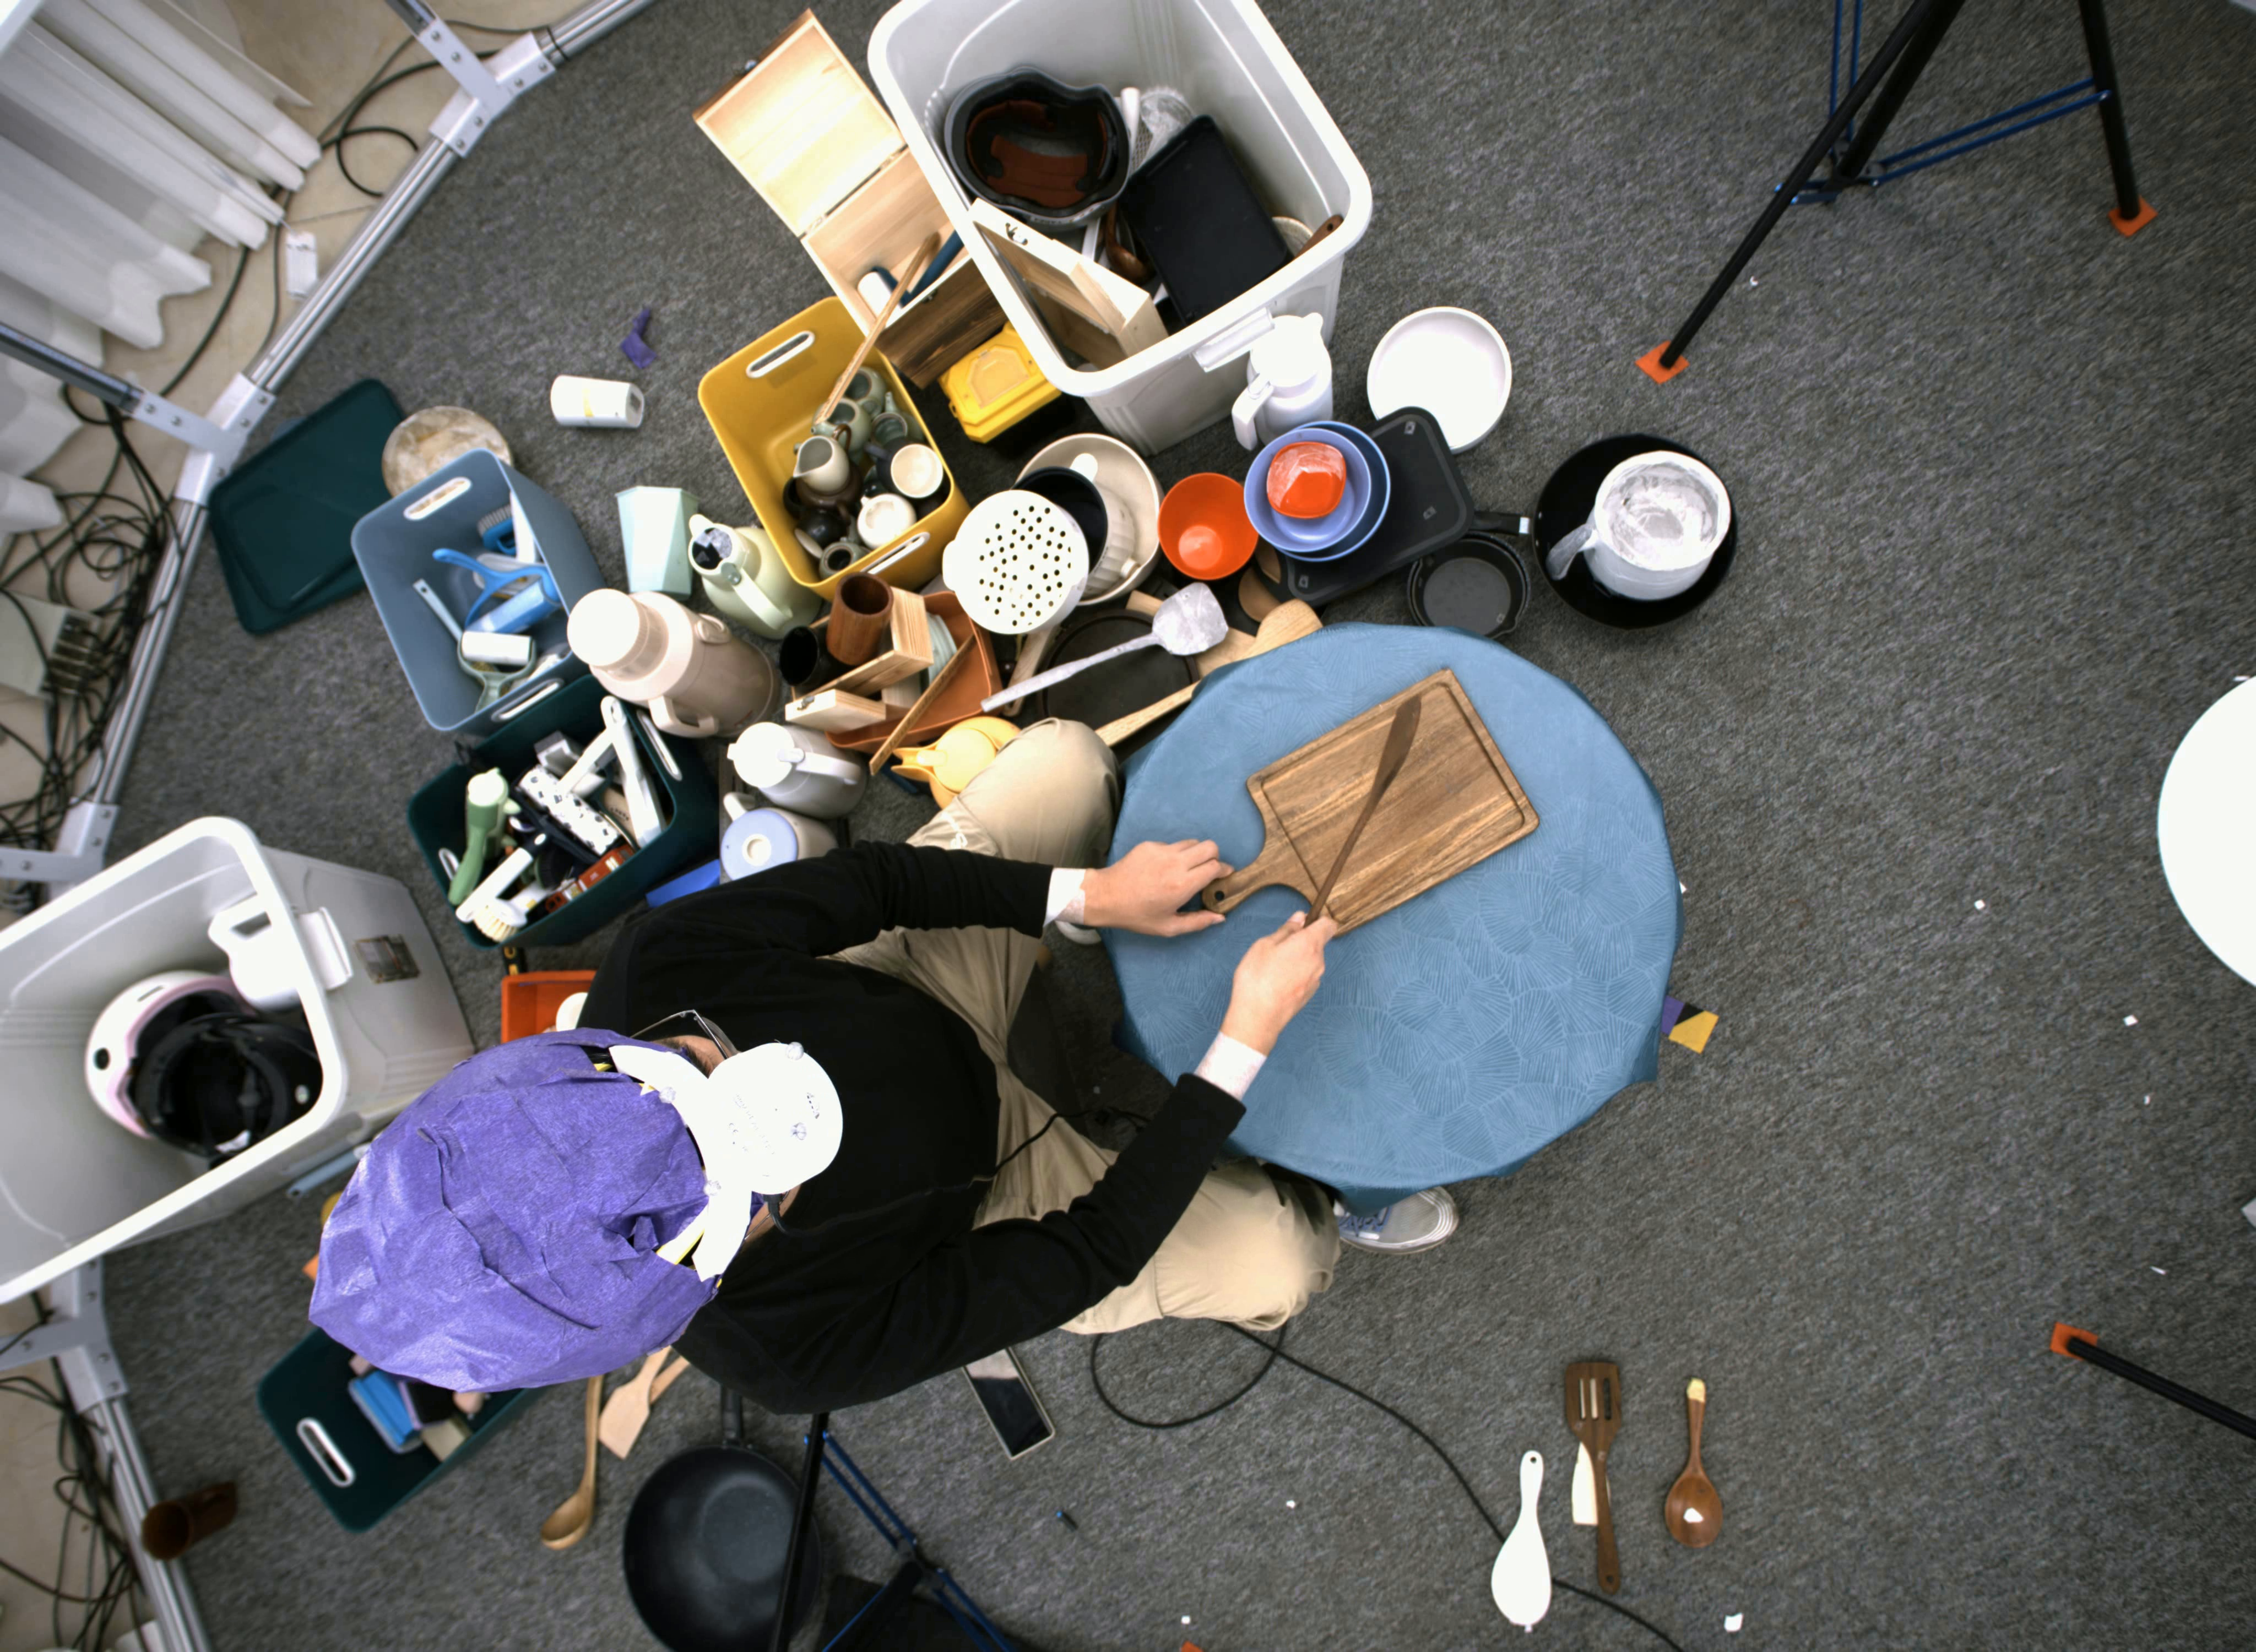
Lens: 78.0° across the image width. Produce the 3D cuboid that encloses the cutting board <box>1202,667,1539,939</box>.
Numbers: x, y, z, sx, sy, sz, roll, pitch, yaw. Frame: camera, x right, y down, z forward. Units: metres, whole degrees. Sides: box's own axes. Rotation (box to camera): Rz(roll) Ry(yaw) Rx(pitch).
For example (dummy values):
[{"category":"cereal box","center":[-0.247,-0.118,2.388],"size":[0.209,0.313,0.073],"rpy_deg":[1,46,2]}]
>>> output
[{"category":"cutting board","center":[0.233,-0.002,1.460],"size":[0.354,0.023,0.200],"rpy_deg":[-30,82,8]}]

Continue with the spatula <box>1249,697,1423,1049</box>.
[{"category":"spatula","center":[0.205,0.046,1.370],"size":[0.016,0.095,0.387],"rpy_deg":[26,94,-1]}]
